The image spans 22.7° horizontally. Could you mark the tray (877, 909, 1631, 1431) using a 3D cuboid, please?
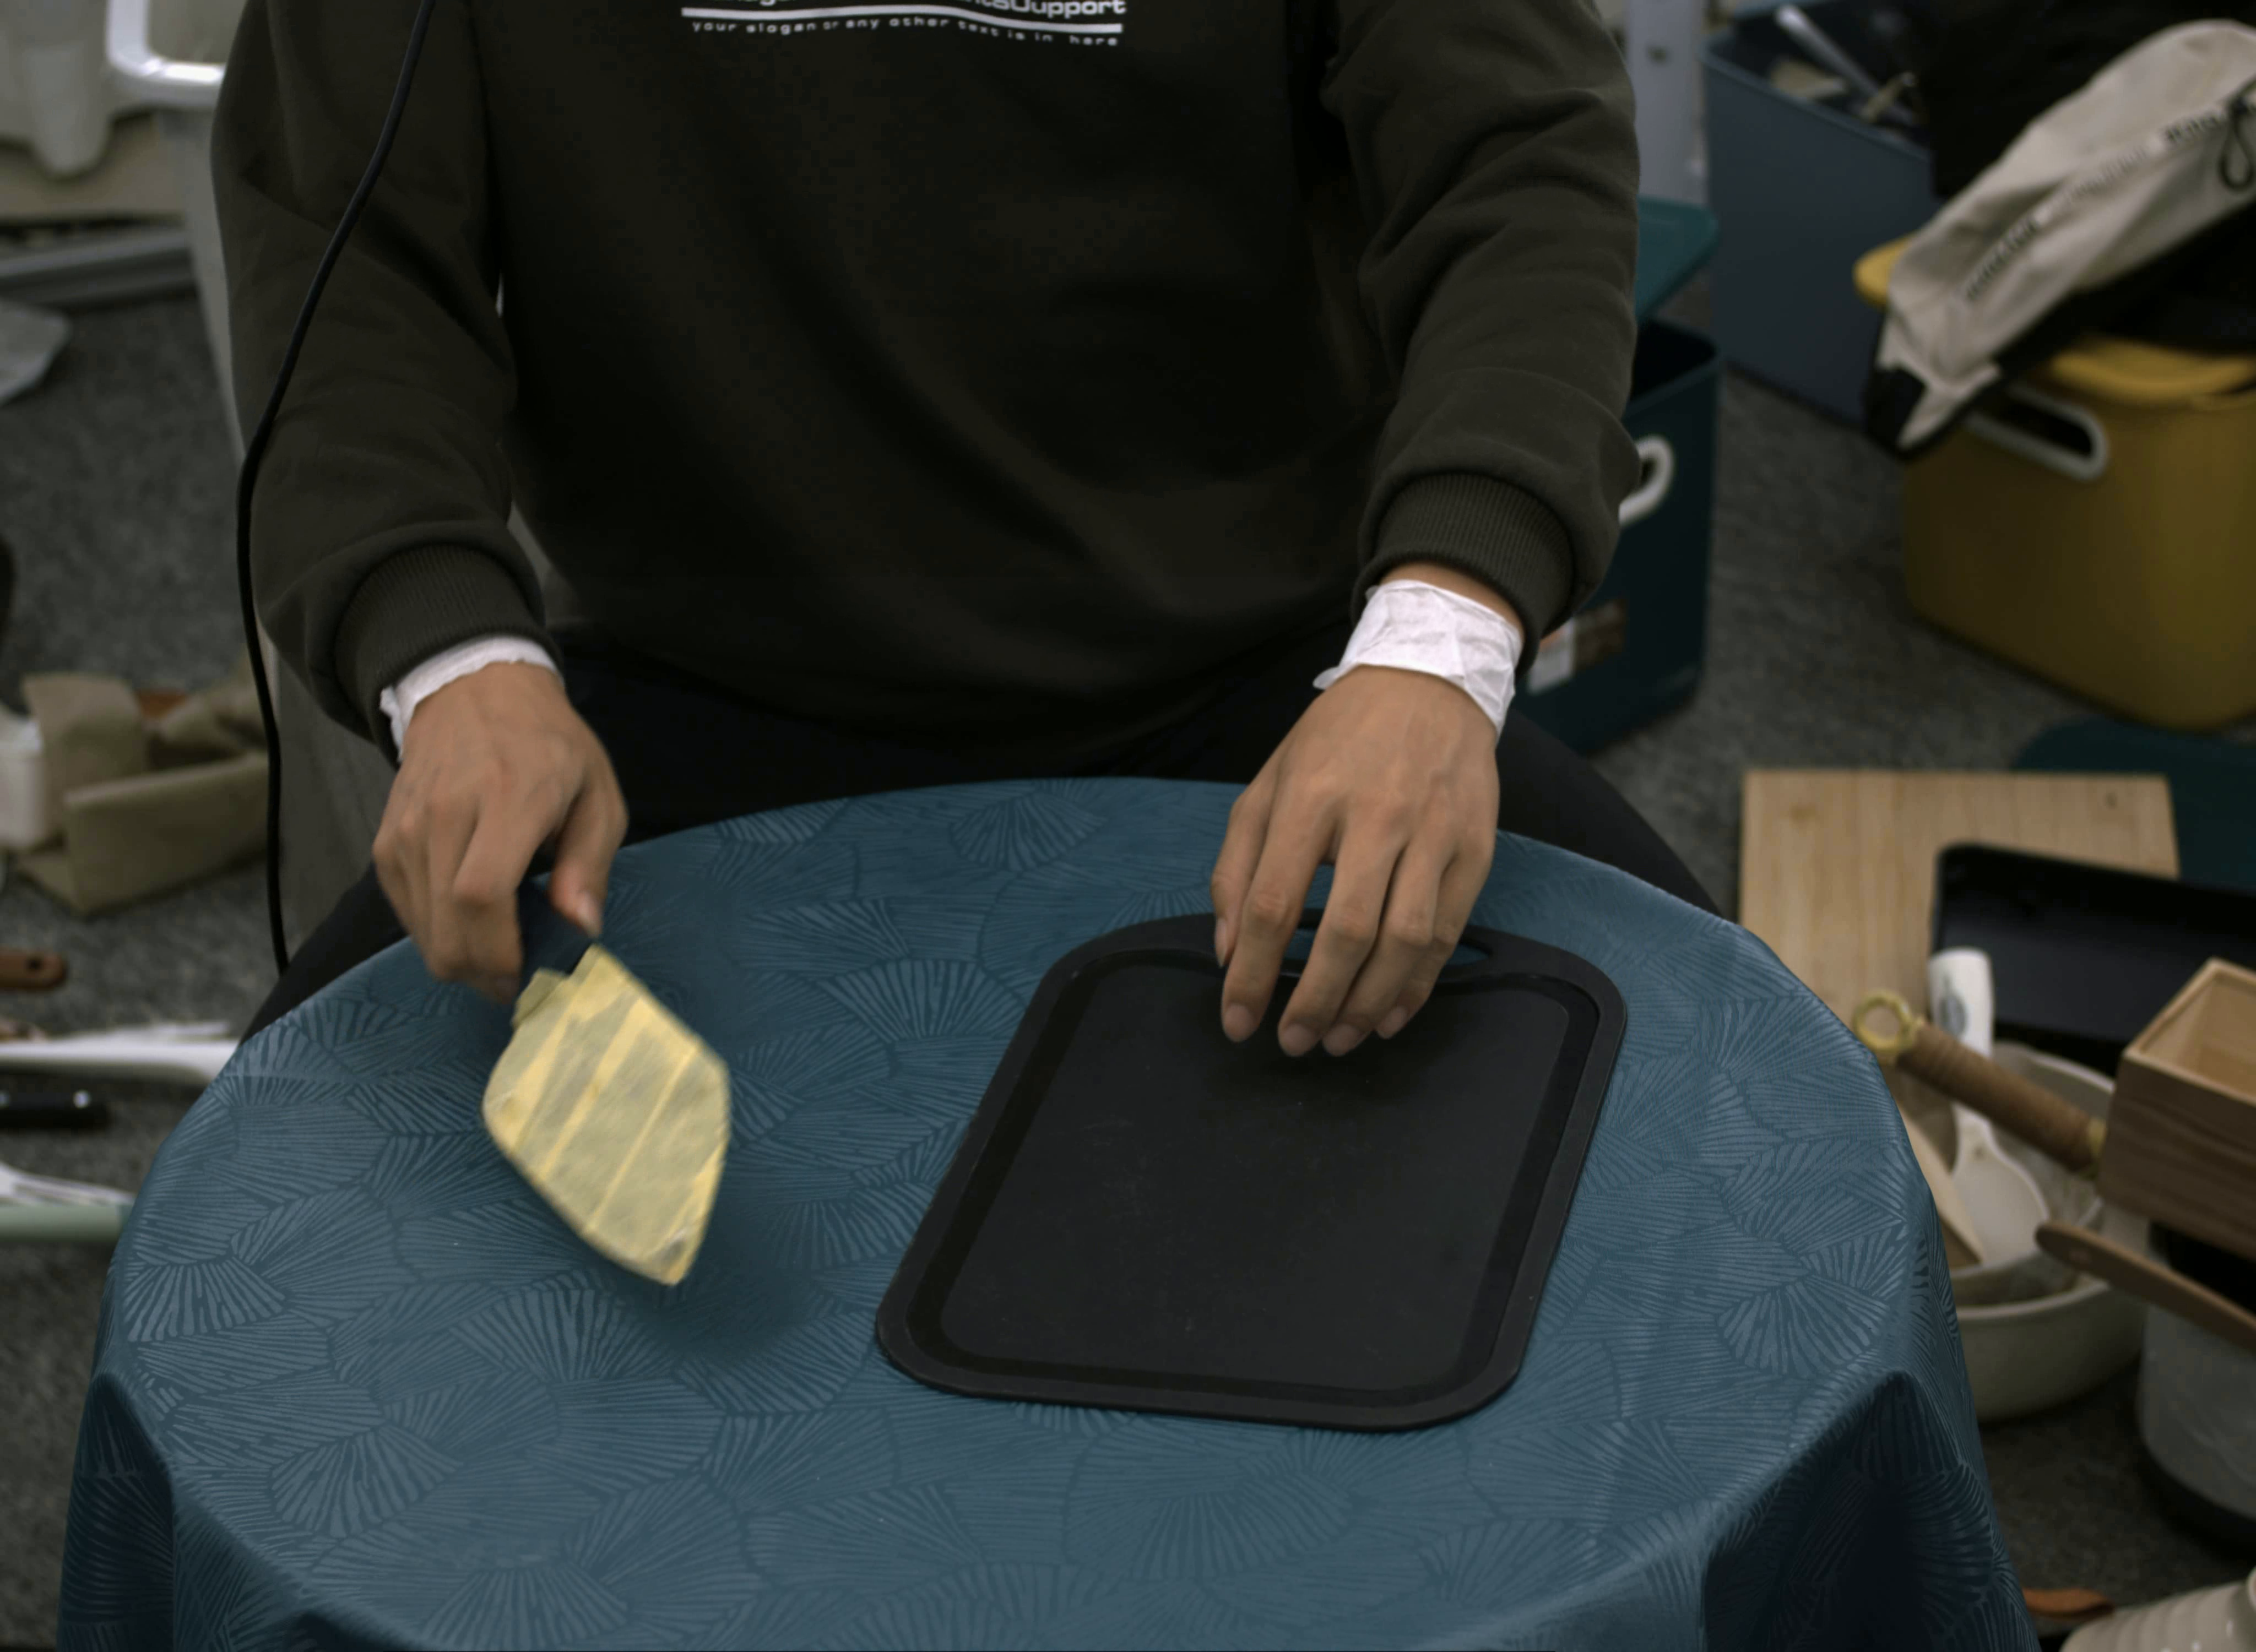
[{"bbox_3d":[0.048,0.105,1.880,0.209,0.009,0.331,4,28,13],"label":"tray"}]

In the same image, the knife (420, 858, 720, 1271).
[{"bbox_3d":[-0.193,0.076,1.876,0.027,0.081,0.291,34,4,-31],"label":"knife"}]
